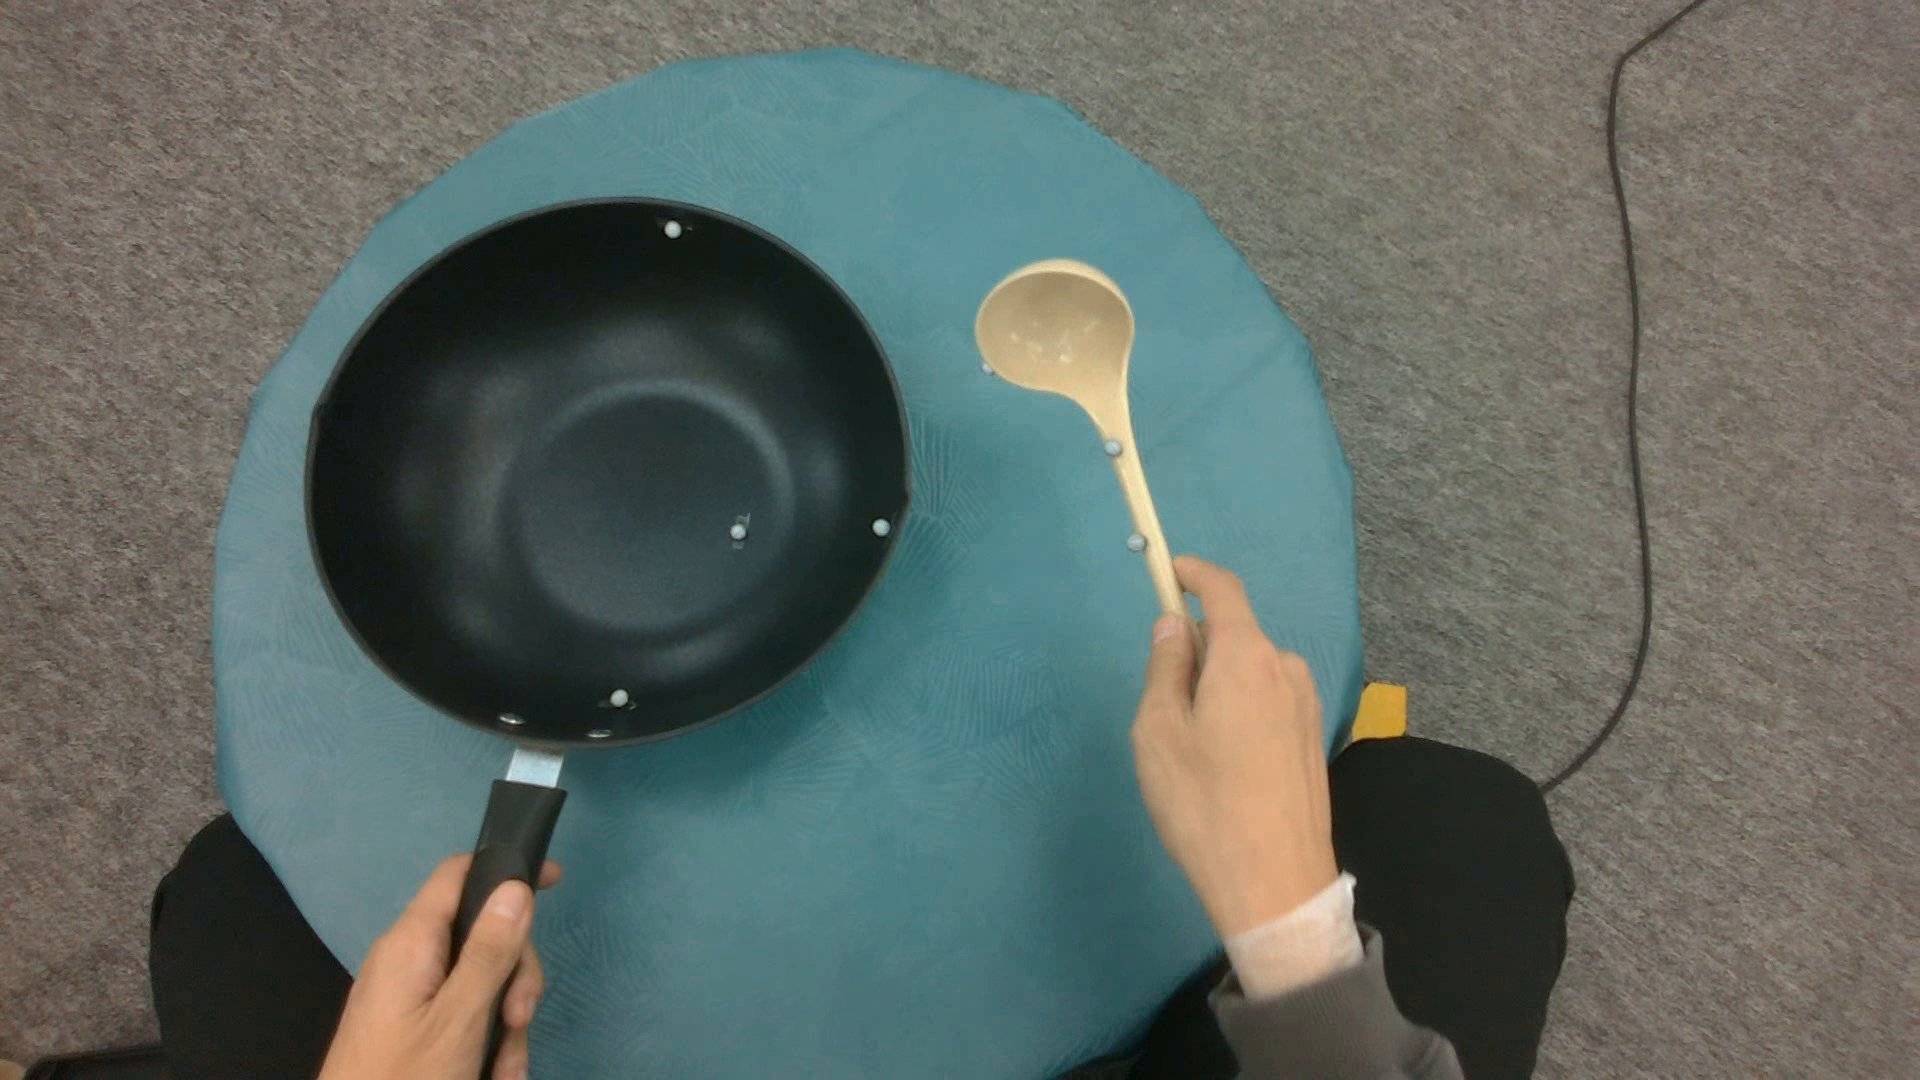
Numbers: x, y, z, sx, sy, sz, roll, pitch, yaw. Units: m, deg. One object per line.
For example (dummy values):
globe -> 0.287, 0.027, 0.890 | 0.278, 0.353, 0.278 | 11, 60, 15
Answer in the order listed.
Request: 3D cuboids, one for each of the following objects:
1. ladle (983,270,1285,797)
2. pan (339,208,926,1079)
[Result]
ladle -> 0.078, -0.006, 0.614 | 0.072, 0.073, 0.255 | -30, 67, 25
pan -> -0.175, 0.060, 0.676 | 0.288, 0.086, 0.464 | 9, 73, 2
